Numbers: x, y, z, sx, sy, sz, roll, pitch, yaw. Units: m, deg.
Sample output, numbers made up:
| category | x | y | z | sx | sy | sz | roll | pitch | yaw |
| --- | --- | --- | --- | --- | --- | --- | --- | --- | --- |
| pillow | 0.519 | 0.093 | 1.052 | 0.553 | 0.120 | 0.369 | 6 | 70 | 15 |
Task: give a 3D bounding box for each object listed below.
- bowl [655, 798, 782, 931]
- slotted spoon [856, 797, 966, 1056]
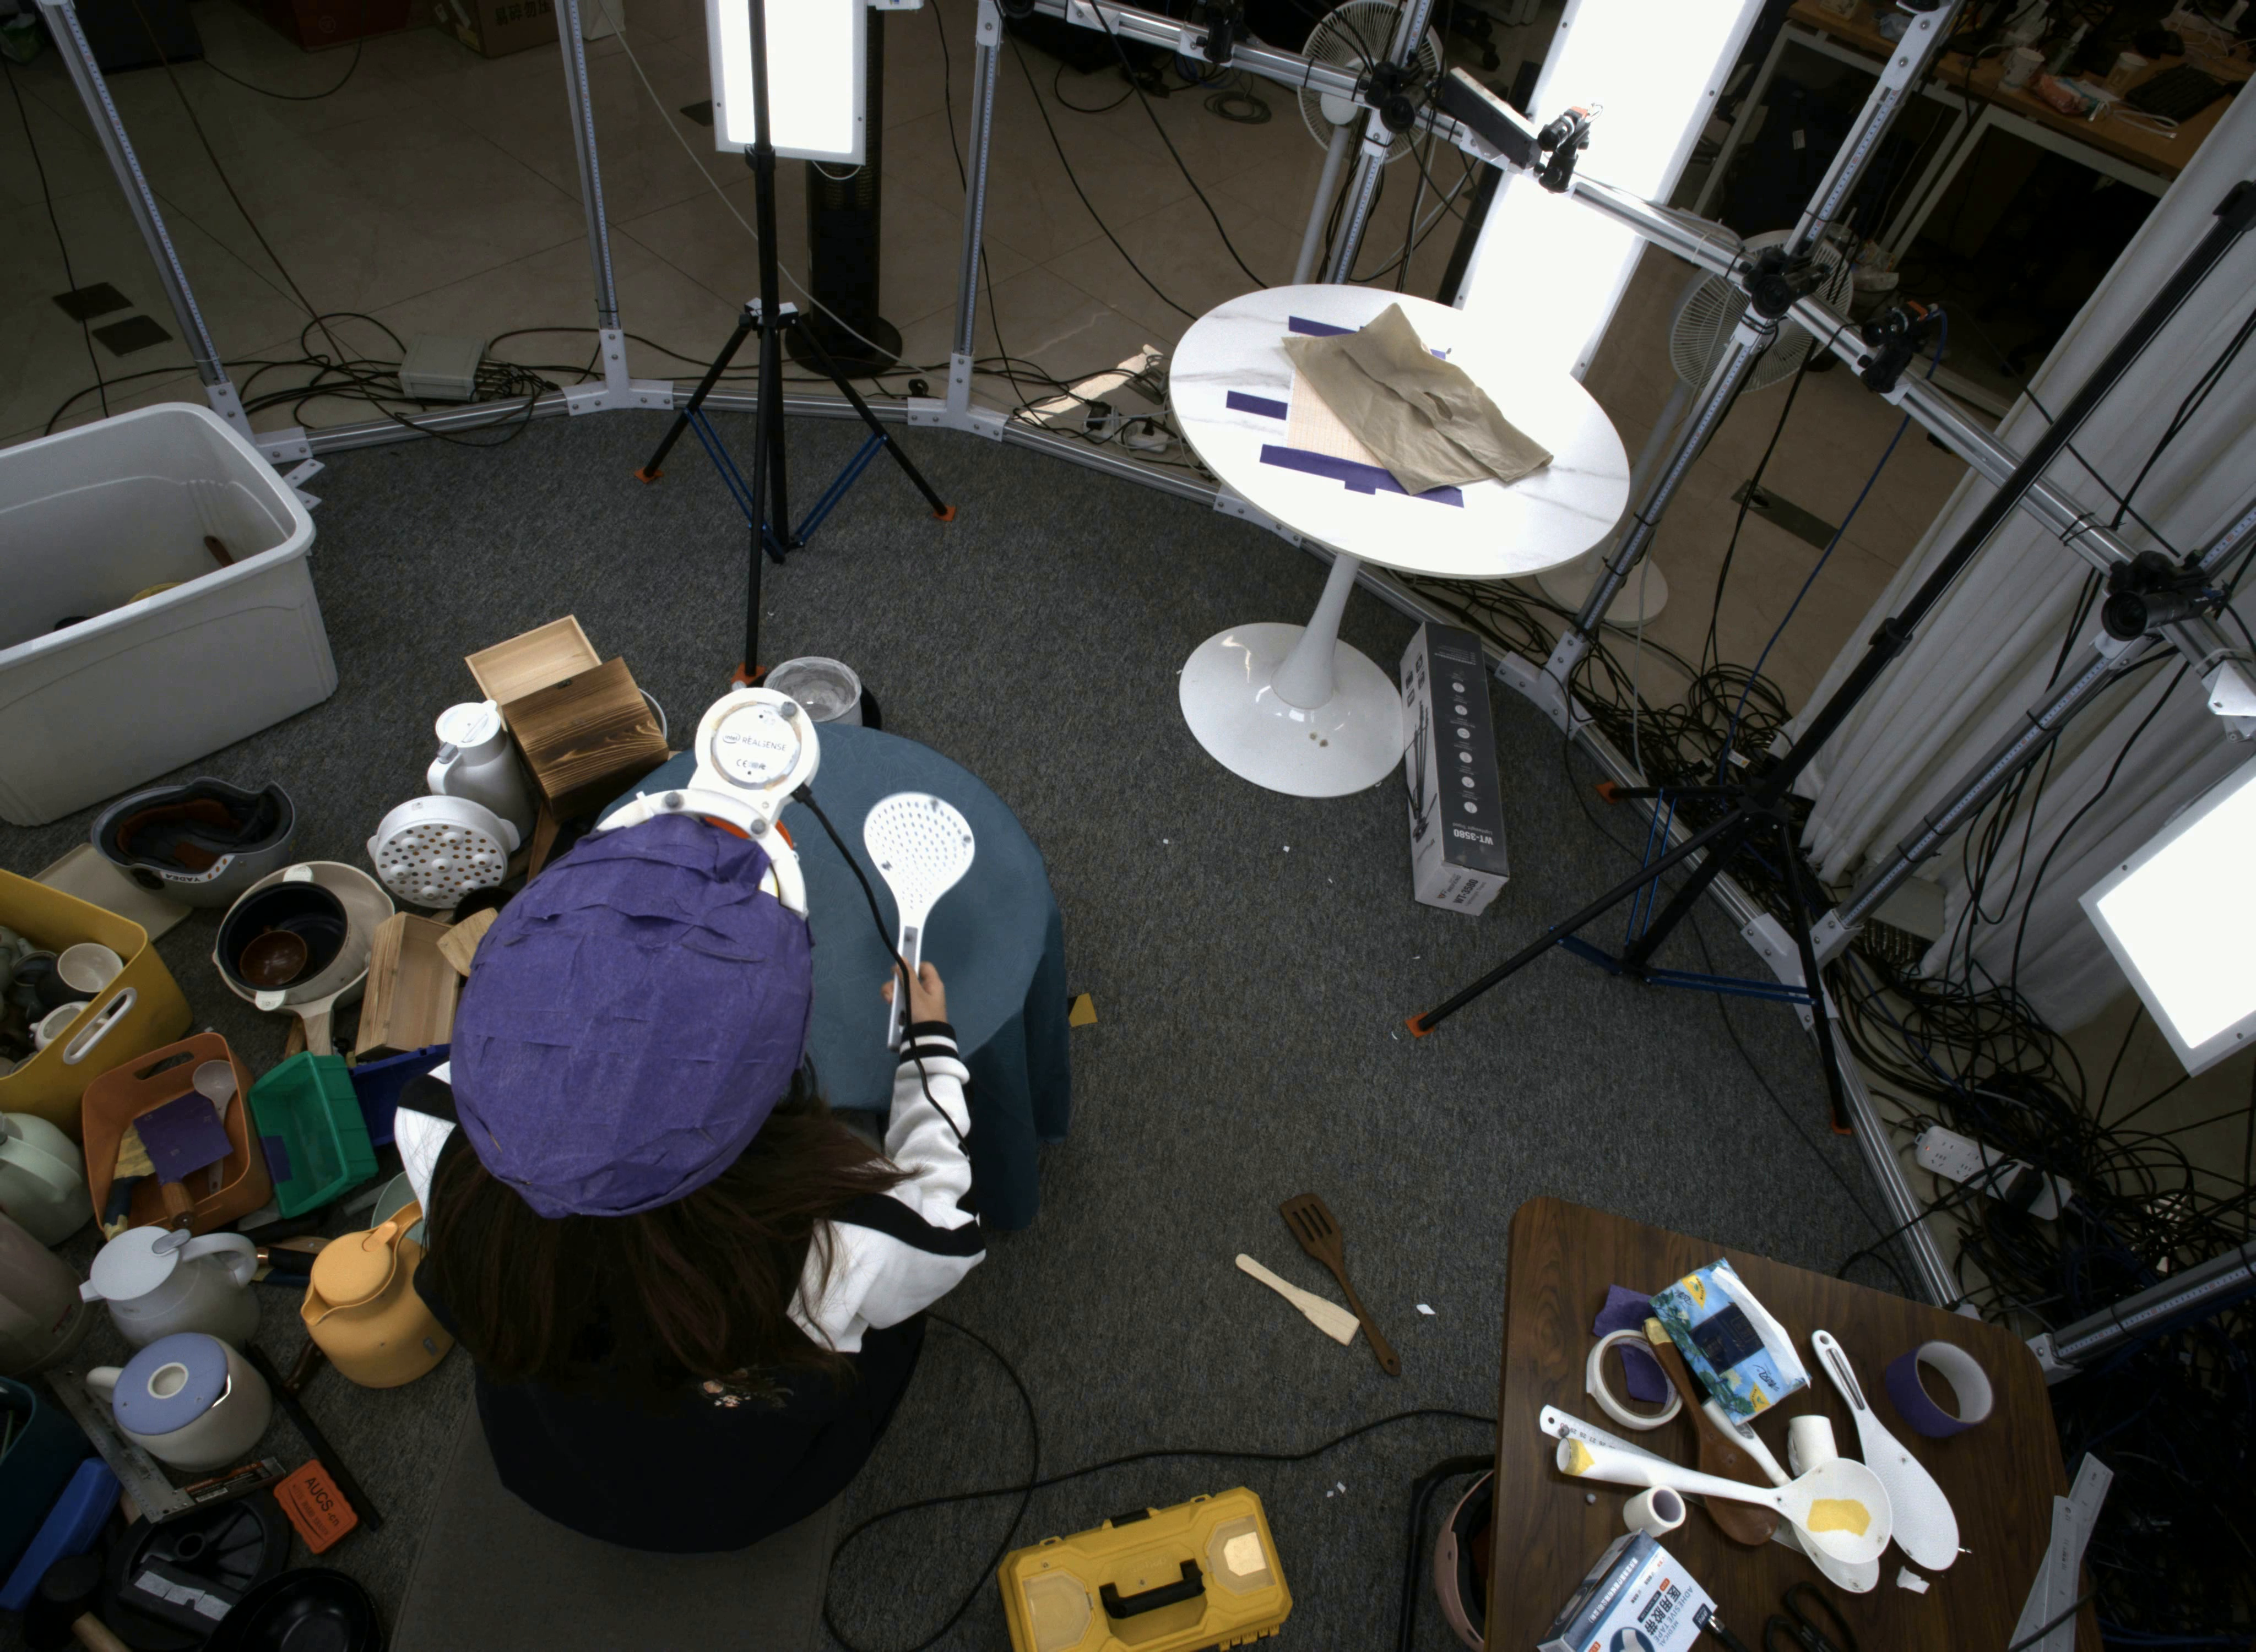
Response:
| category | x | y | z | sx | sy | sz | roll | pitch | yaw |
| --- | --- | --- | --- | --- | --- | --- | --- | --- | --- |
| bowl | -0.493 | 0.056 | 1.552 | 0.148 | 0.106 | 0.145 | 12 | 48 | -12 |
| slotted spoon | -0.263 | 0.109 | 1.530 | 0.137 | 0.046 | 0.342 | 12 | 47 | -18 |
